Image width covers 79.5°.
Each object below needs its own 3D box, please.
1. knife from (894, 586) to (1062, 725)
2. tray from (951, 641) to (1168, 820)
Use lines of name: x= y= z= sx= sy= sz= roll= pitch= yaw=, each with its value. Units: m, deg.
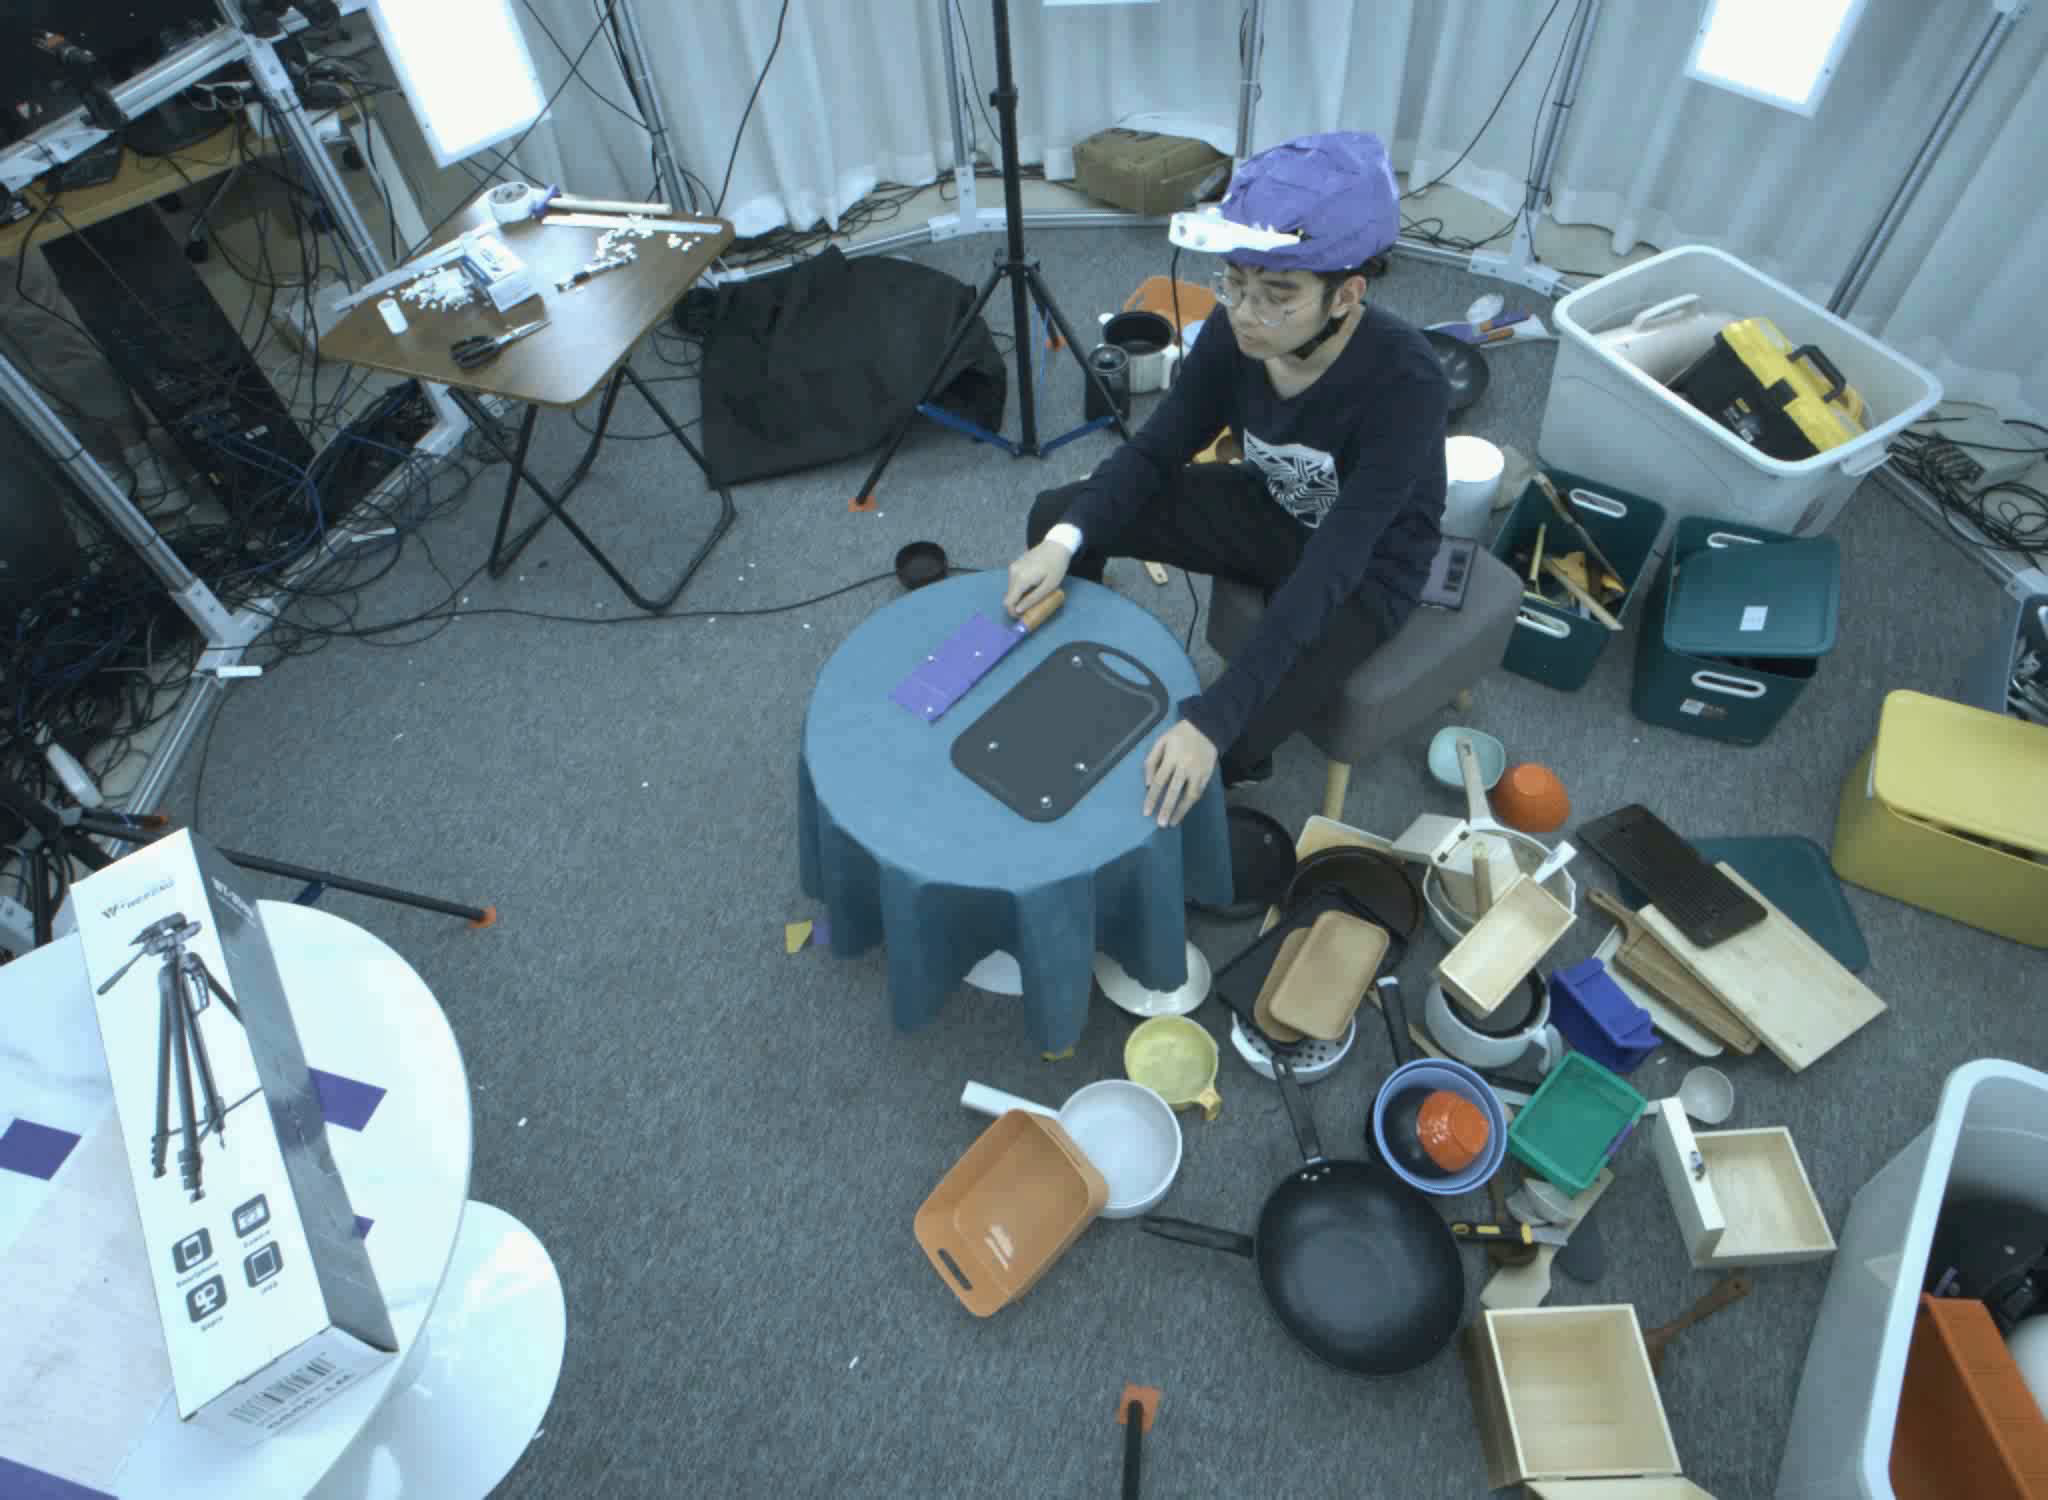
knife: x=-0.072 y=-0.164 z=1.898 sx=0.102 sy=0.032 sz=0.317 roll=33 pitch=62 yaw=23
tray: x=0.059 y=-0.042 z=1.820 sx=0.207 sy=0.010 sz=0.327 roll=36 pitch=62 yaw=23
